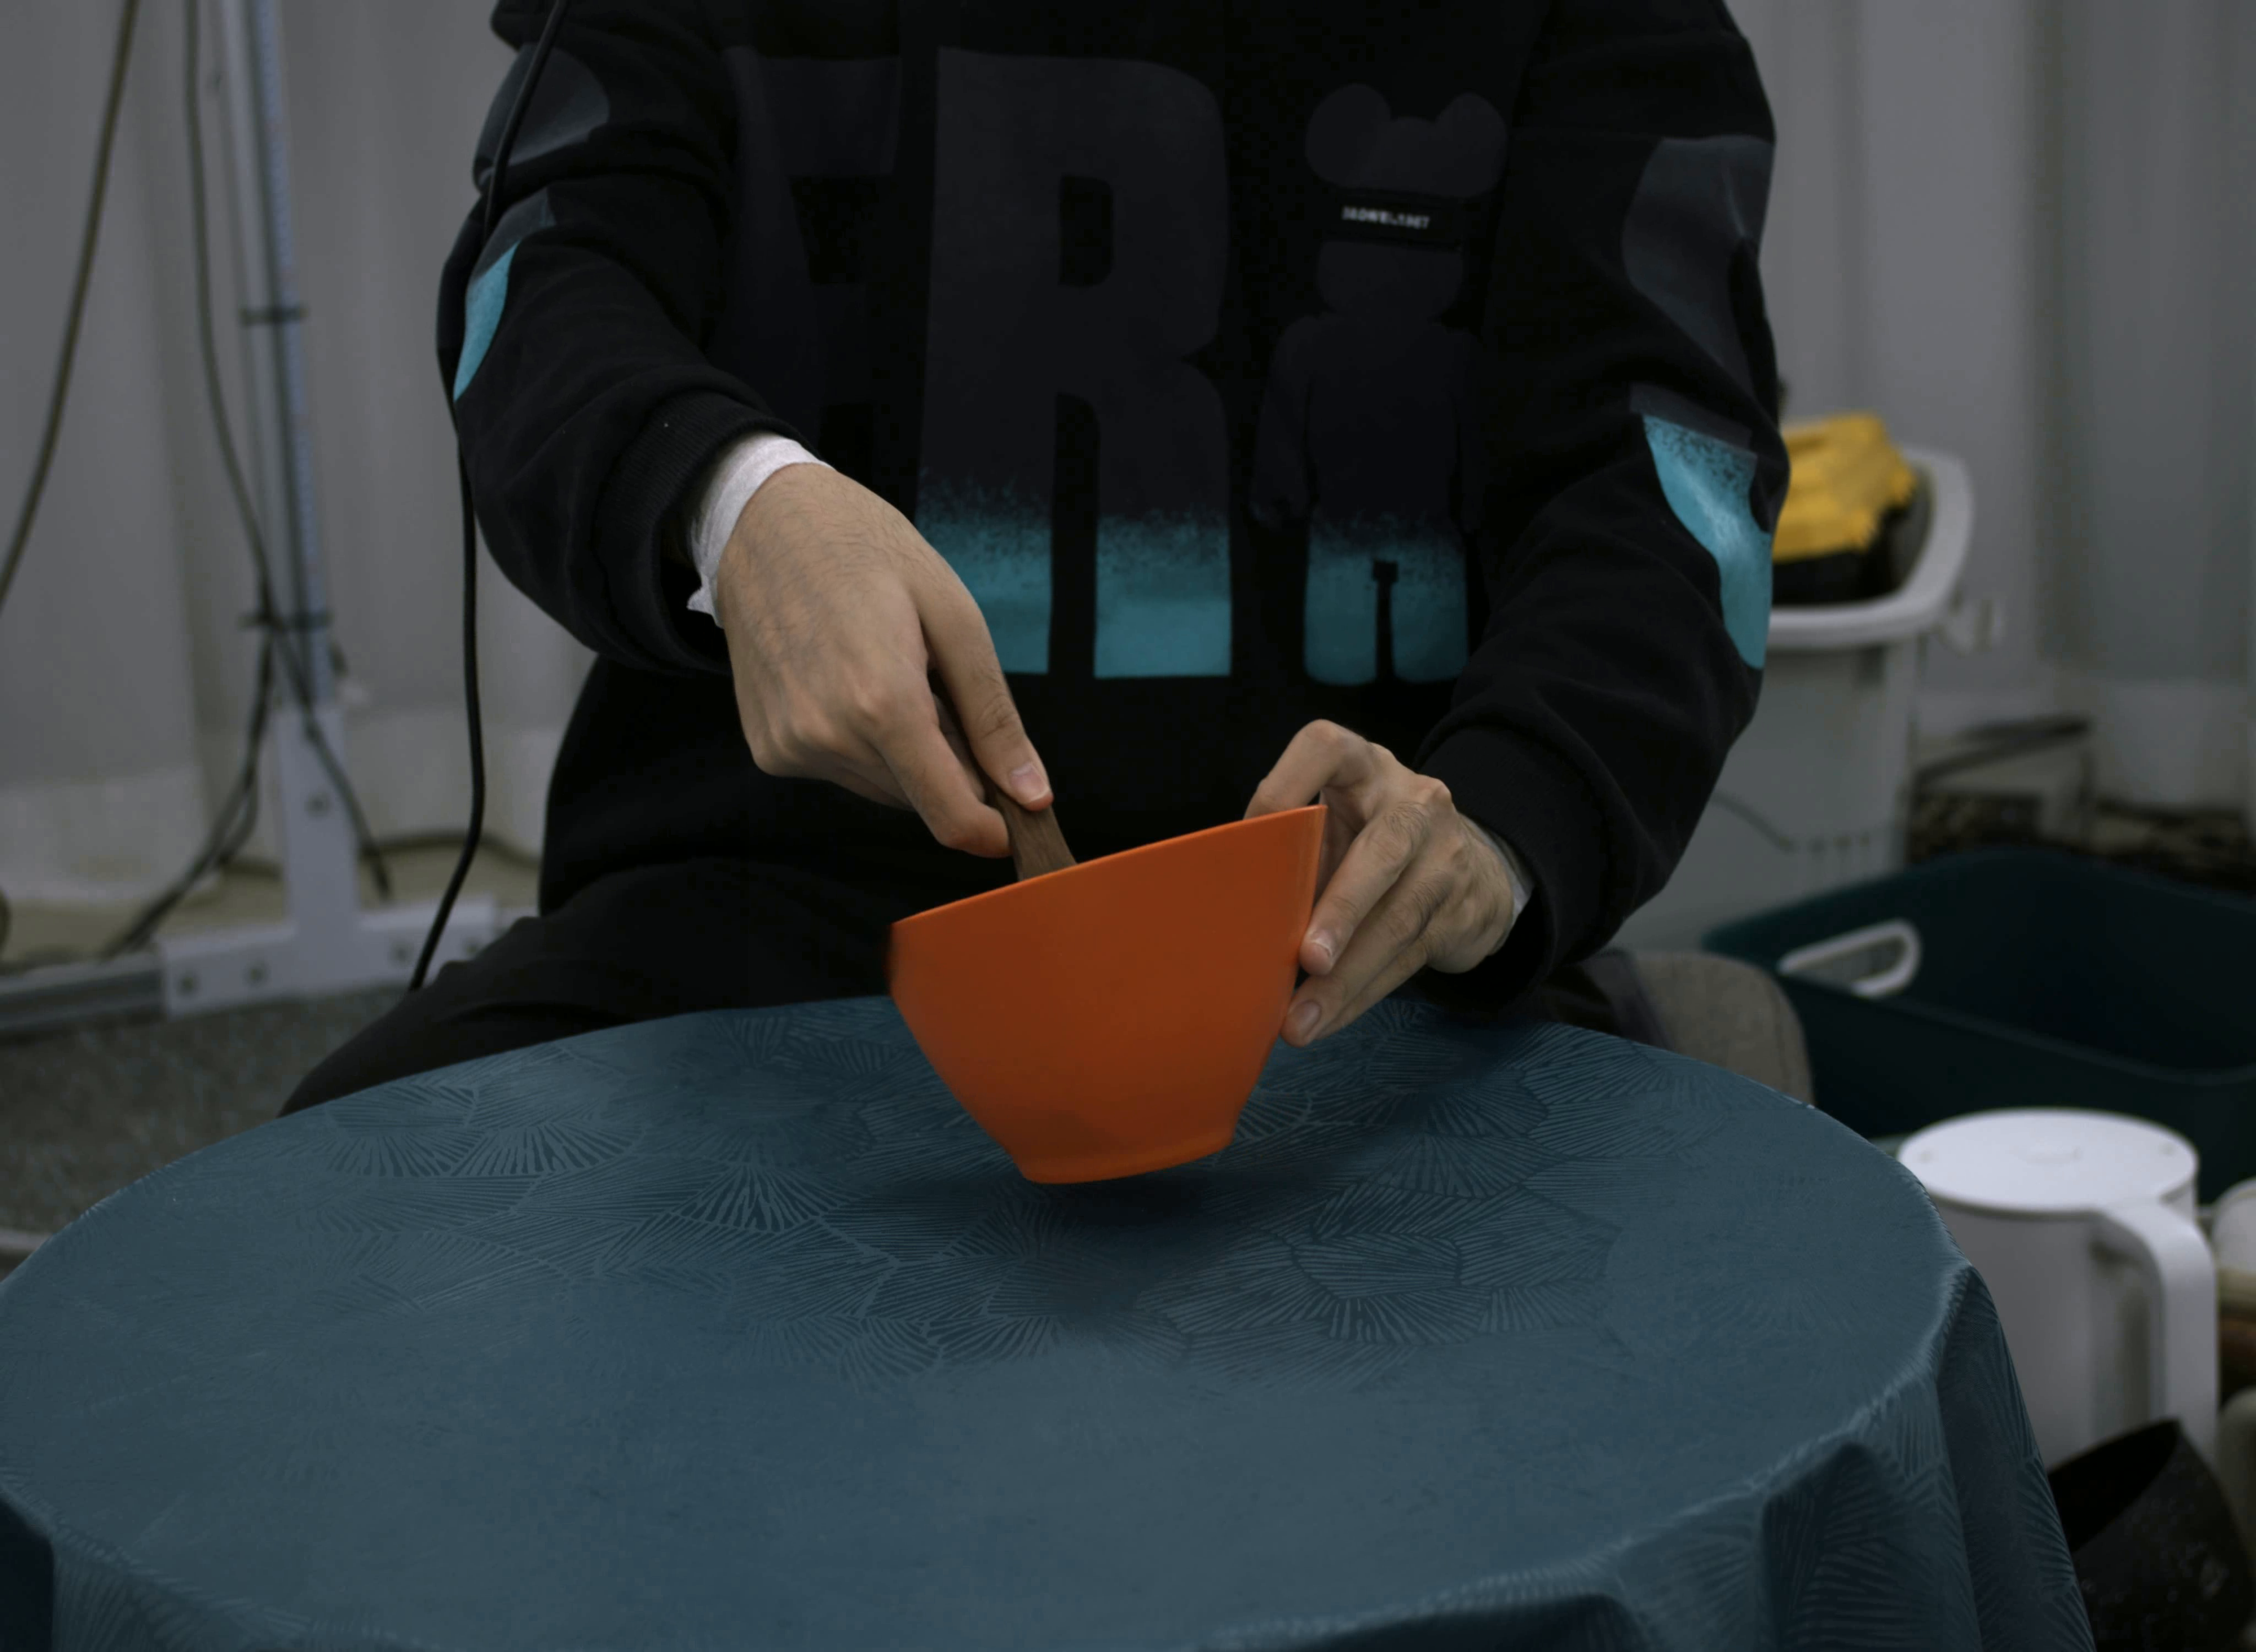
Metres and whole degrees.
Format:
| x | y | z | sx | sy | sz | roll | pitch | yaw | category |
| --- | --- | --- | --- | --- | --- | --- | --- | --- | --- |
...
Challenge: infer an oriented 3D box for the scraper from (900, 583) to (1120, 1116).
| x | y | z | sx | sy | sz | roll | pitch | yaw | category |
| --- | --- | --- | --- | --- | --- | --- | --- | --- | --- |
| -0.029 | 0.006 | 1.724 | 0.075 | 0.011 | 0.214 | 1 | 52 | -34 | scraper |

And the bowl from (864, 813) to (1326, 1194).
| x | y | z | sx | sy | sz | roll | pitch | yaw | category |
| --- | --- | --- | --- | --- | --- | --- | --- | --- | --- |
| -0.003 | 0.056 | 1.684 | 0.147 | 0.105 | 0.148 | -11 | 5 | 1 | bowl |
